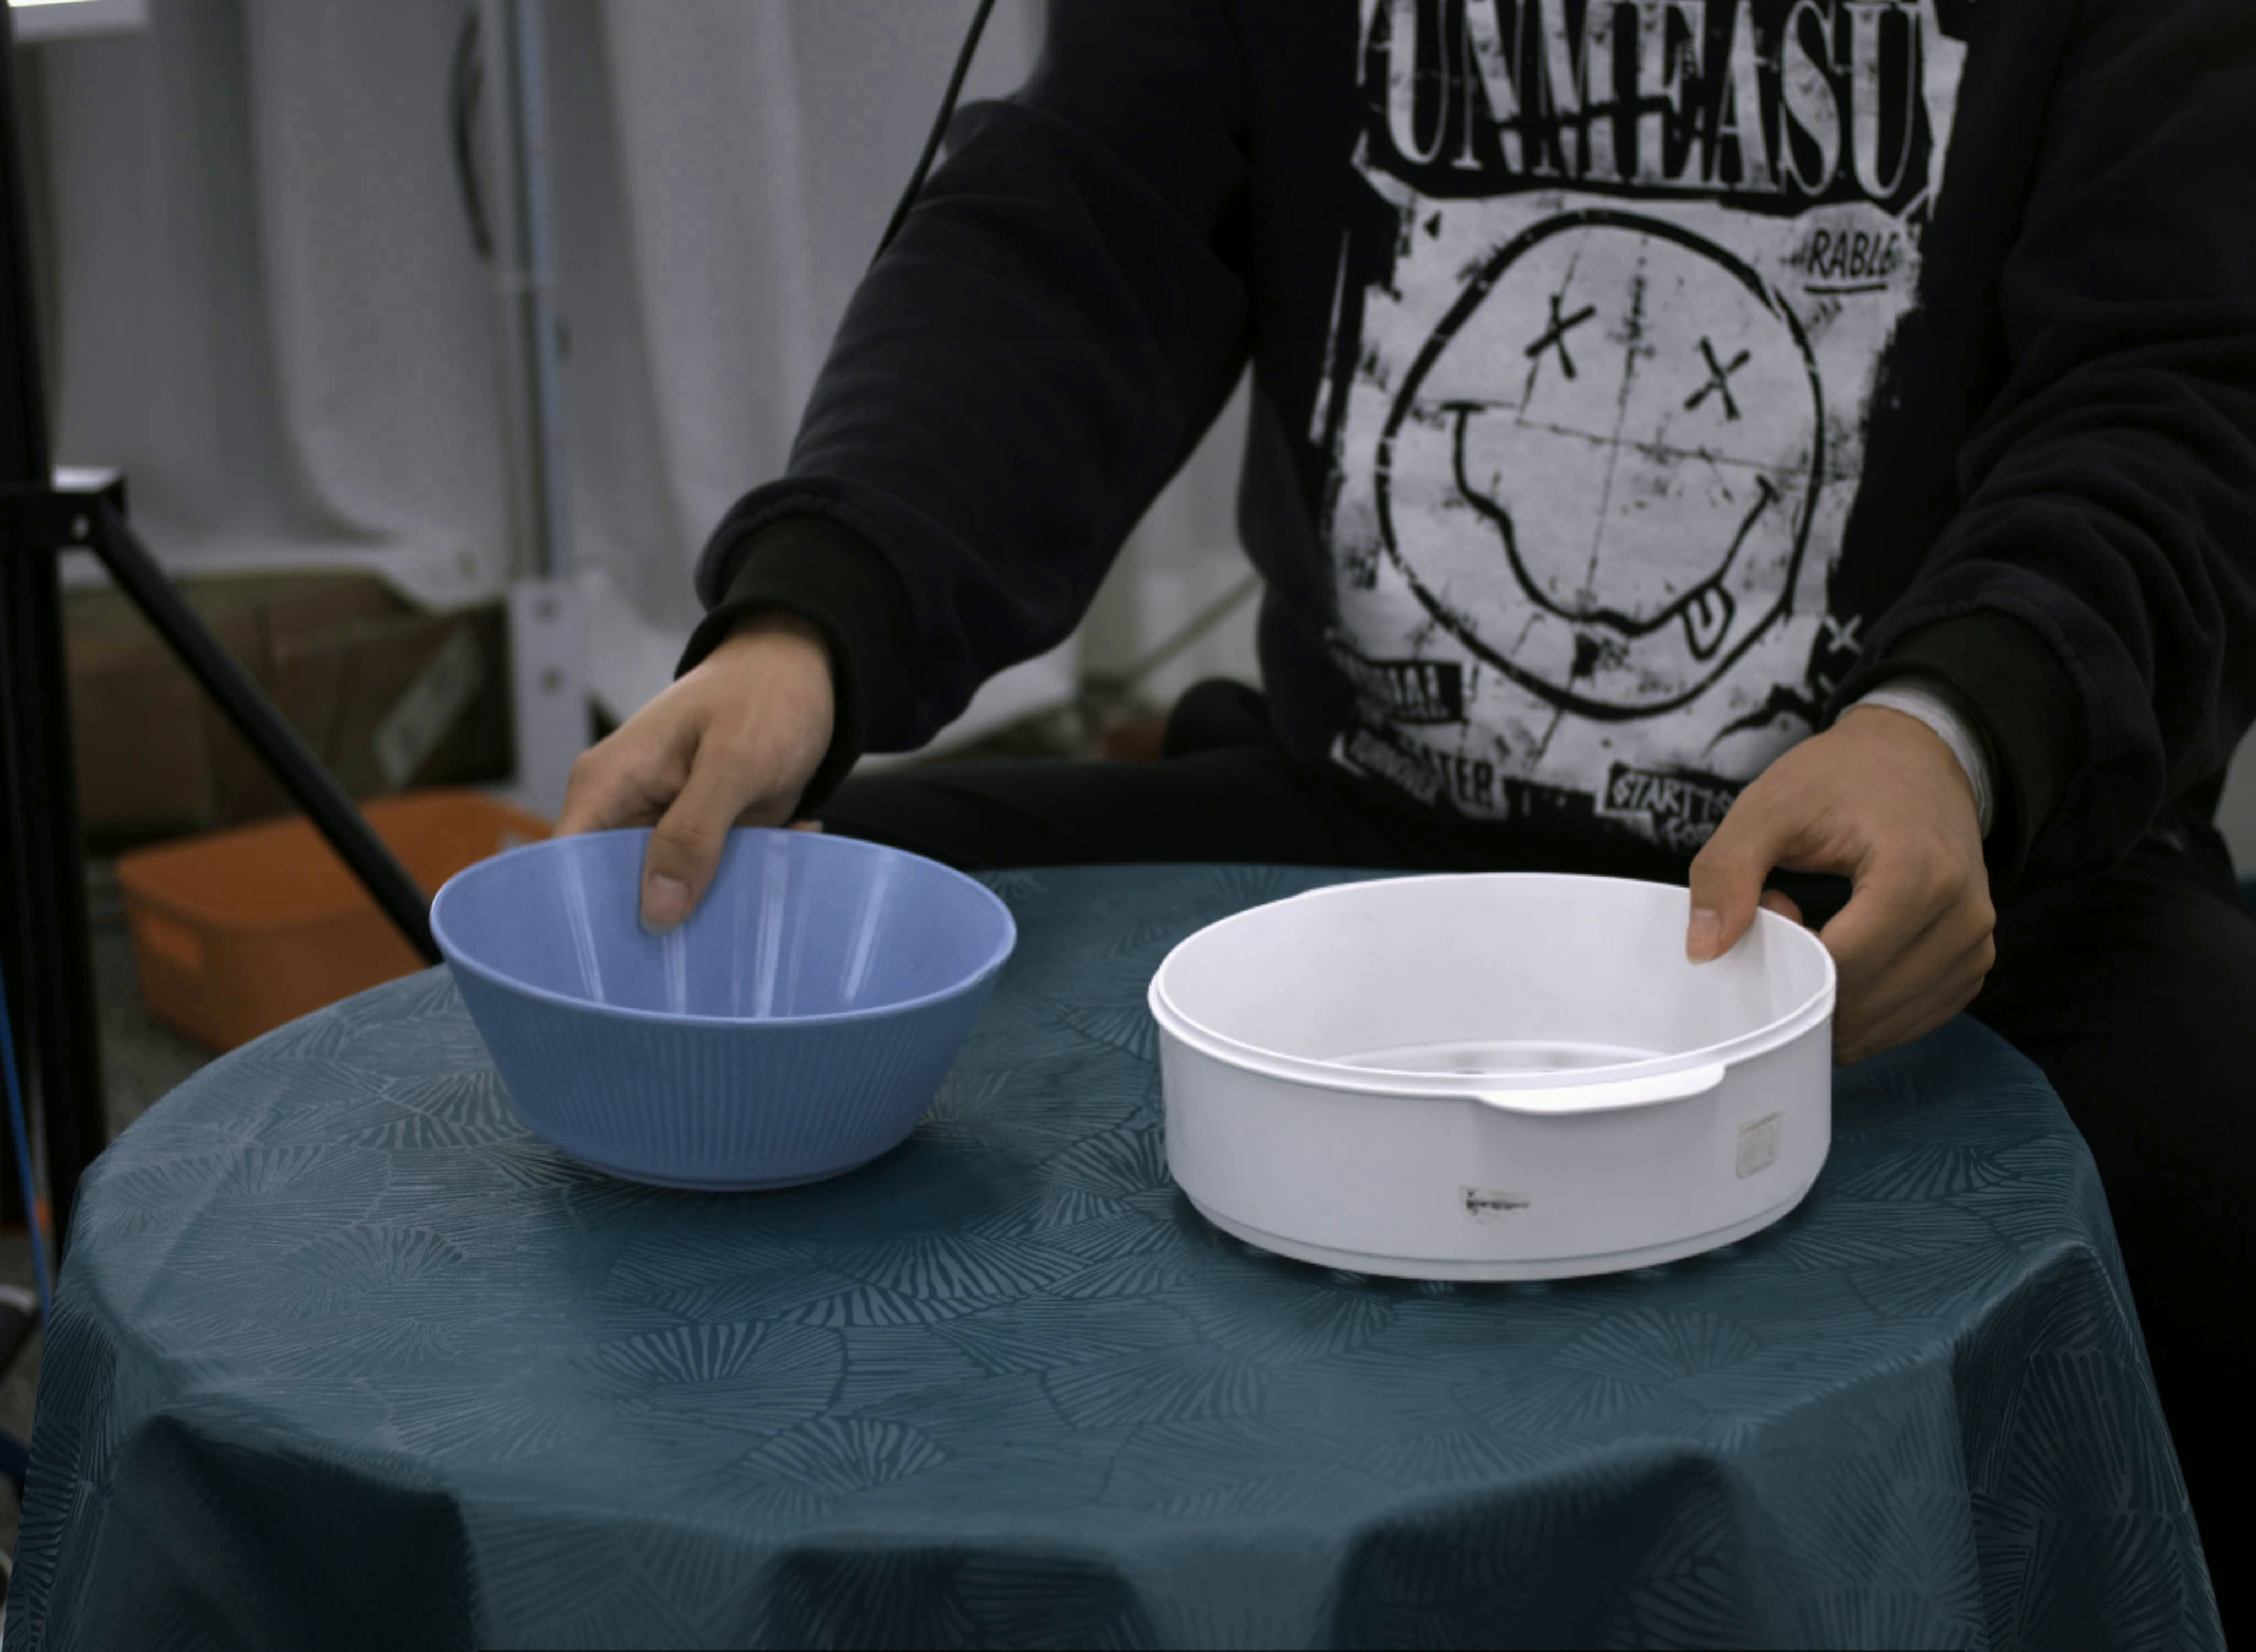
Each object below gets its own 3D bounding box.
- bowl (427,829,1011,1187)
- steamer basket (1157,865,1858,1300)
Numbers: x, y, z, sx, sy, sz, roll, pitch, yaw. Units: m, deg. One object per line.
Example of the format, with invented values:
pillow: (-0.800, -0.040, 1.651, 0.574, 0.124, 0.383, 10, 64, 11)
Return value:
bowl: (-0.124, 0.058, 1.609, 0.175, 0.070, 0.177, 2, 18, -2)
steamer basket: (0.110, 0.074, 1.533, 0.199, 0.069, 0.234, -6, 18, -12)
